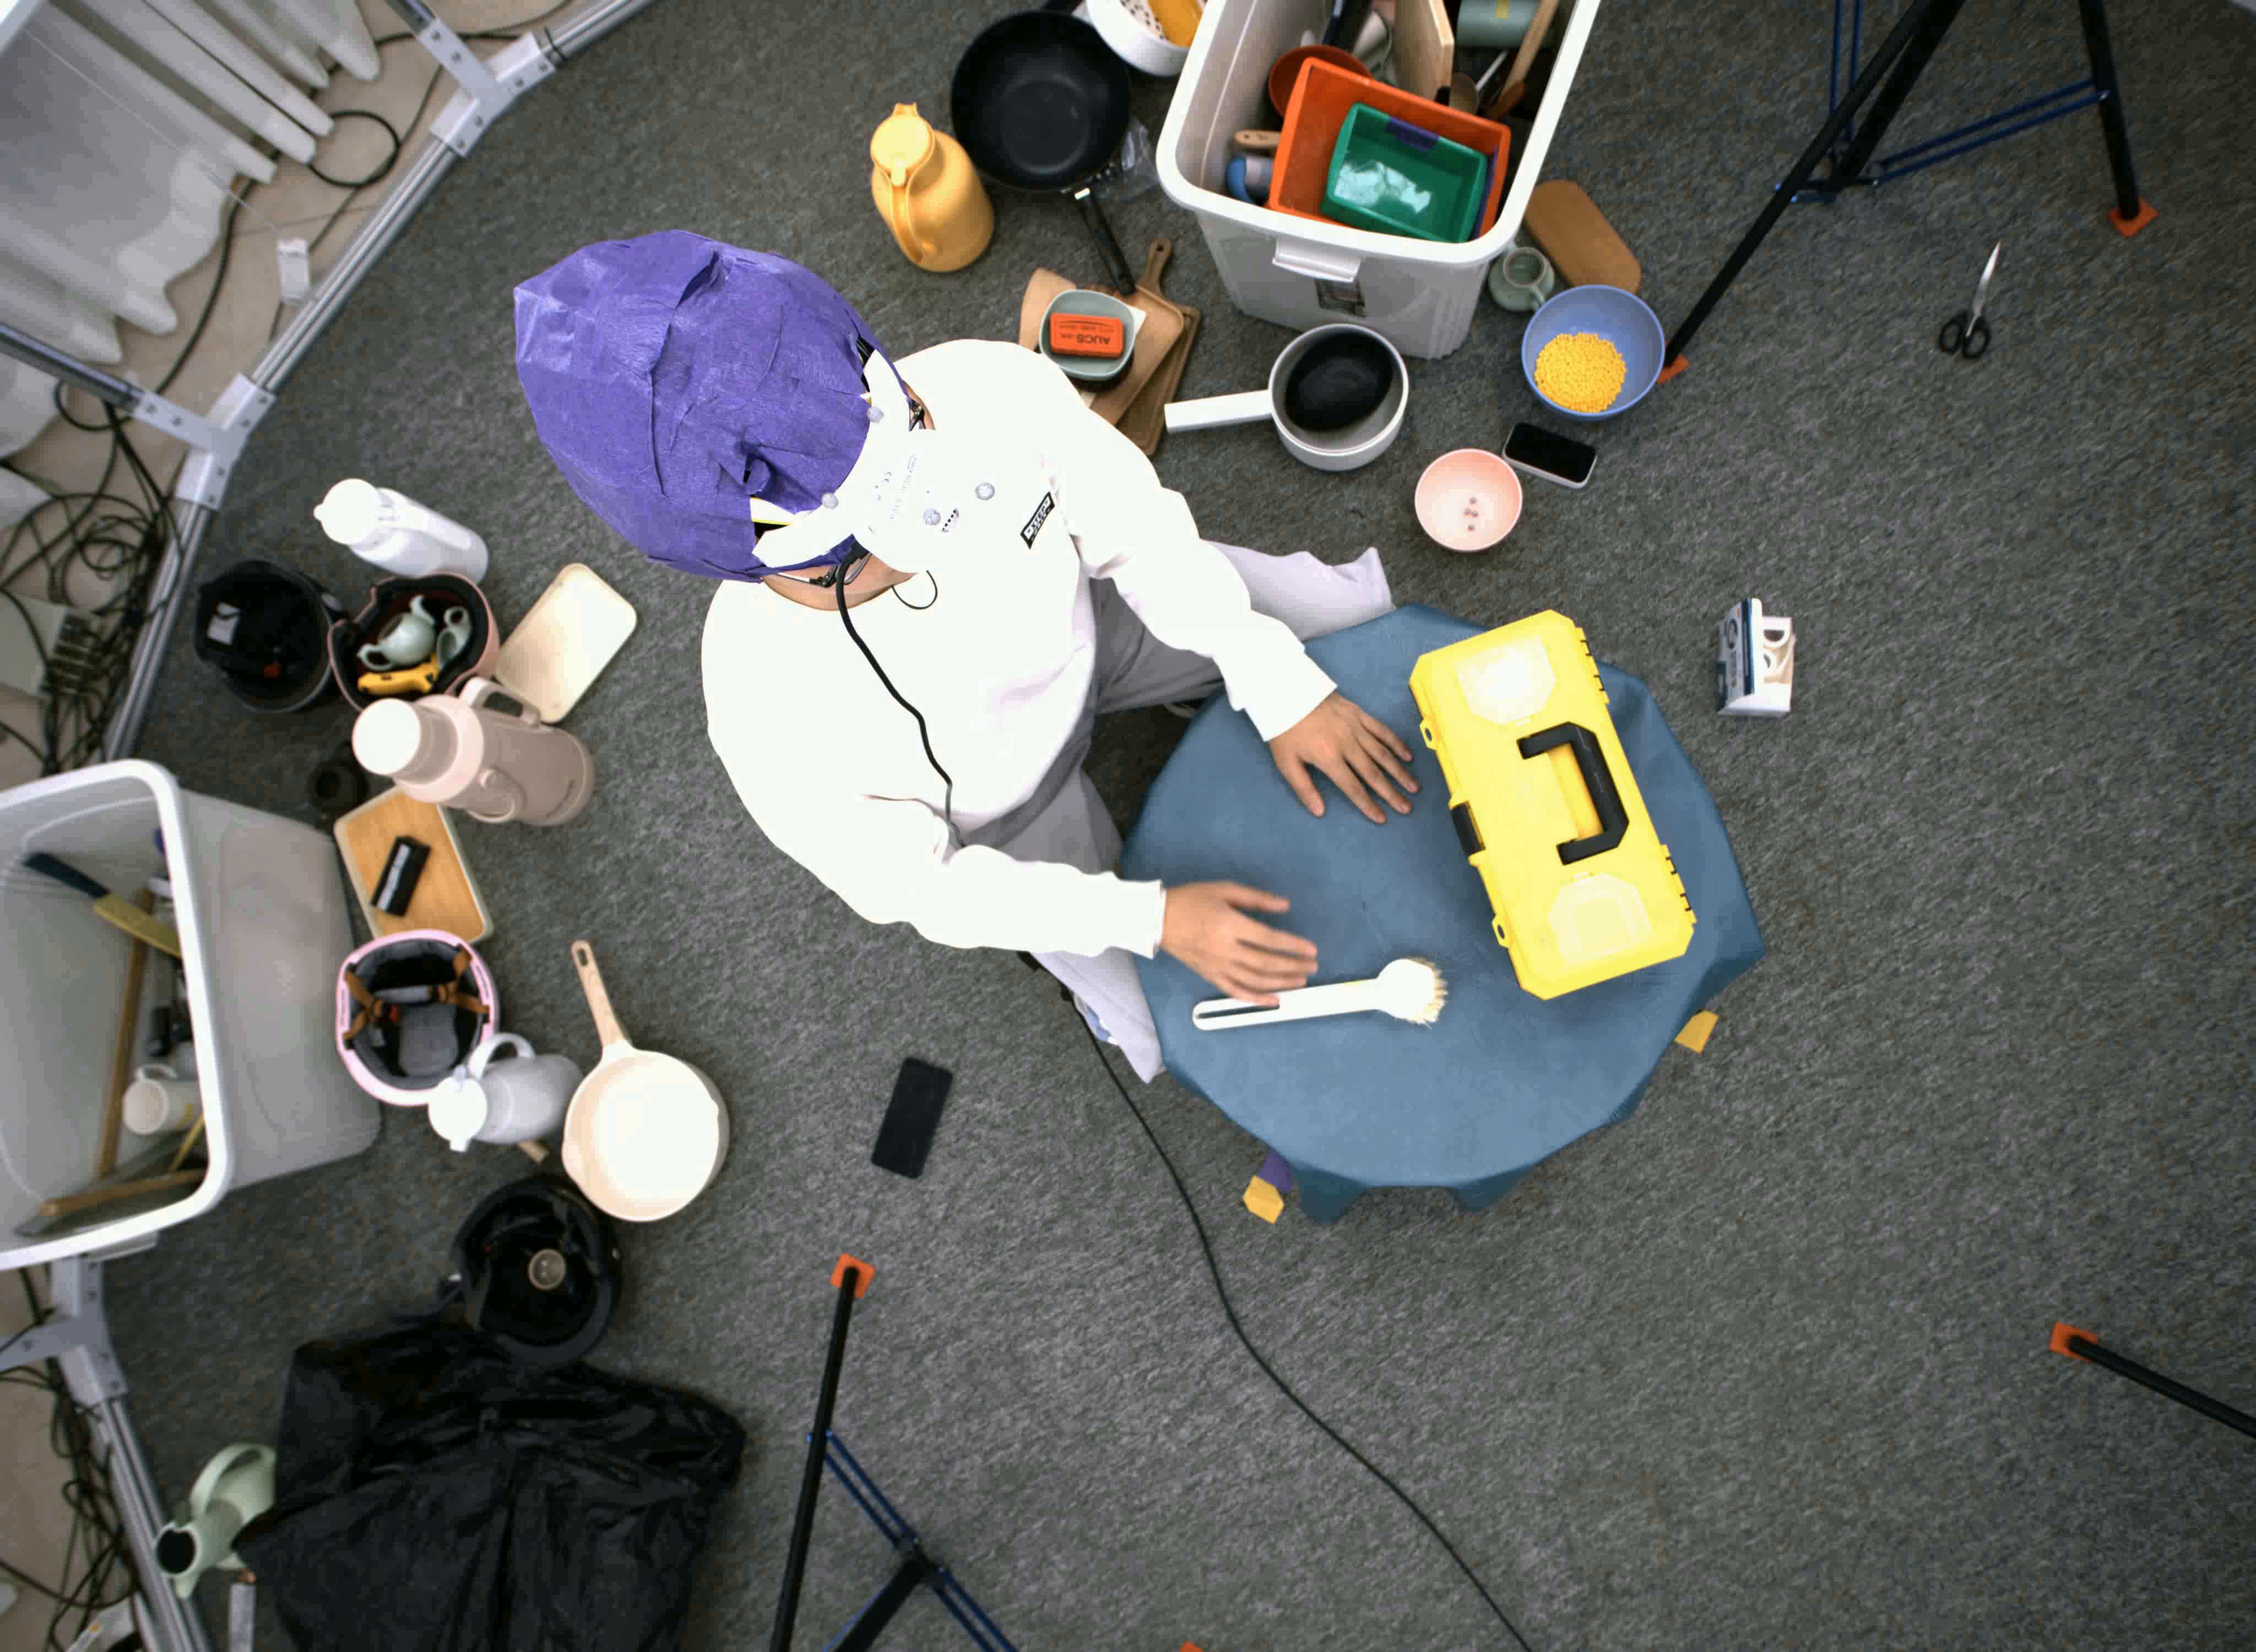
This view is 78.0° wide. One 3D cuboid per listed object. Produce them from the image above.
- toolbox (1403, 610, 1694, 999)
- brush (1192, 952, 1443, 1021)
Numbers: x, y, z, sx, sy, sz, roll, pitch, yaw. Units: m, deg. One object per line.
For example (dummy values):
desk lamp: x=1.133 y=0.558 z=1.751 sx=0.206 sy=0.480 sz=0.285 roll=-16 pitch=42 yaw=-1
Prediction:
toolbox: x=0.406 y=-0.019 z=1.351 sx=0.182 sy=0.173 sz=0.349 roll=-19 pitch=82 yaw=7
brush: x=0.199 y=0.179 z=1.461 sx=0.269 sy=0.057 sz=0.067 roll=-13 pitch=61 yaw=25
